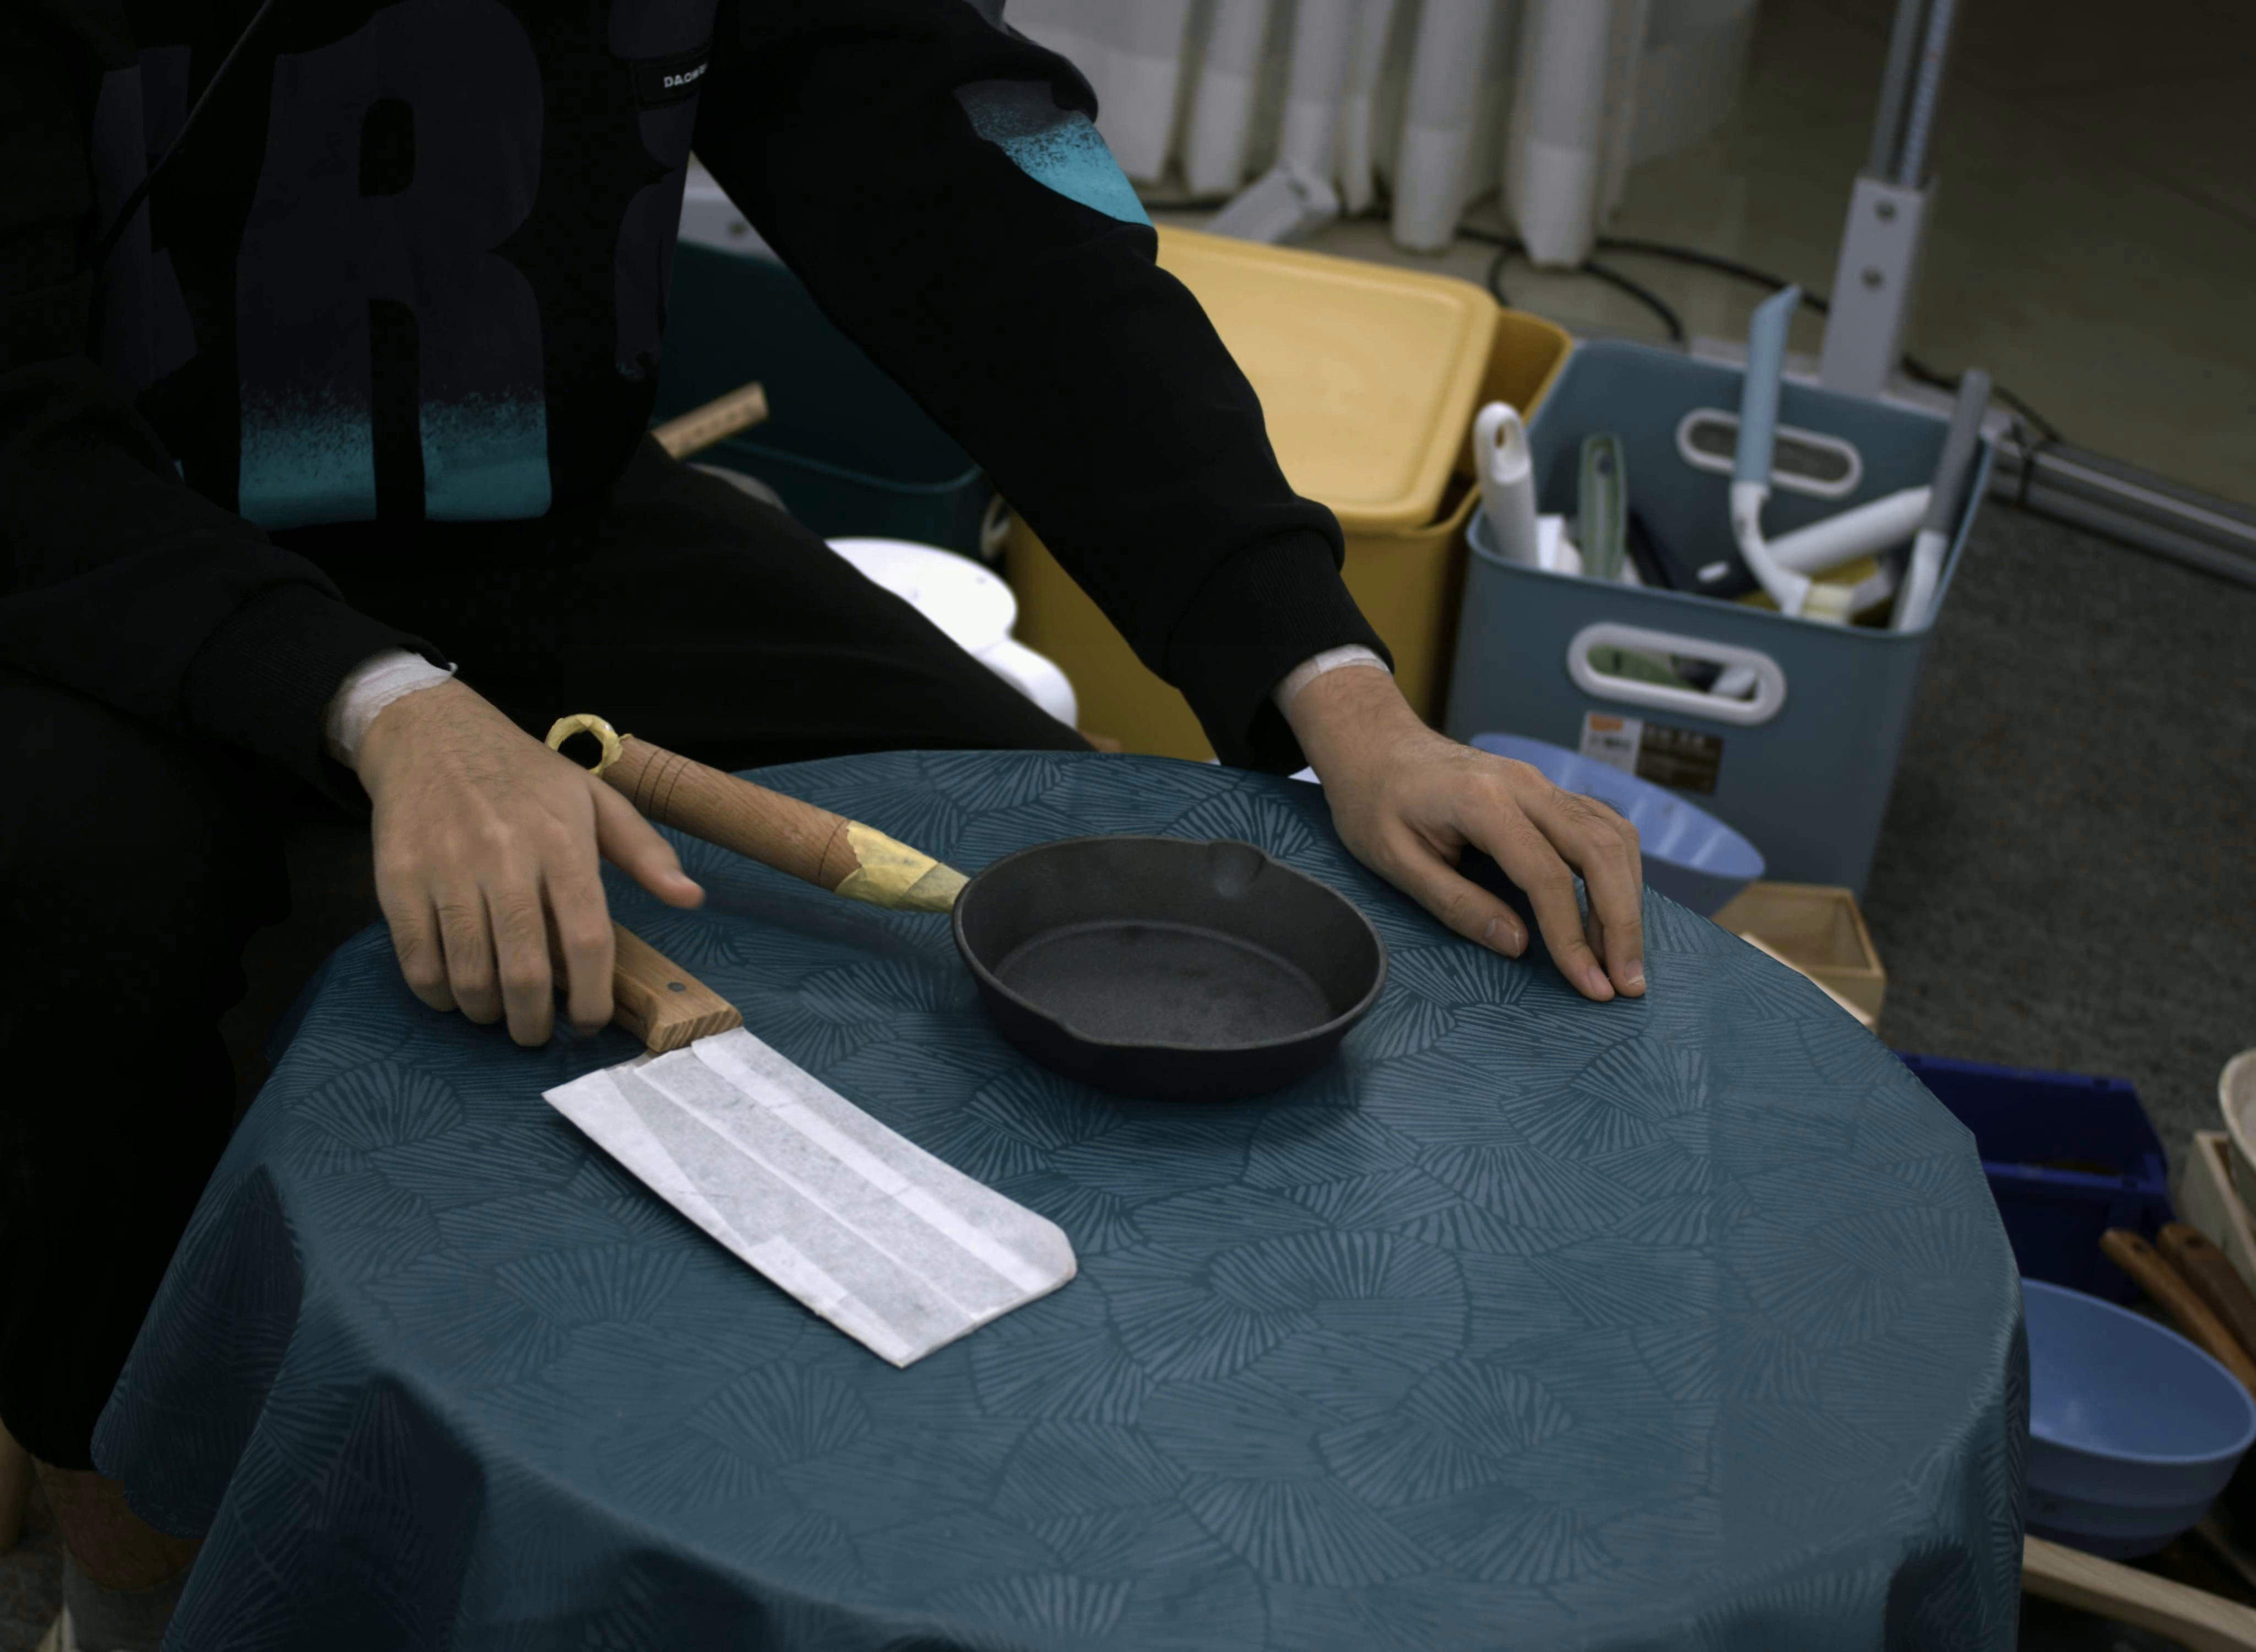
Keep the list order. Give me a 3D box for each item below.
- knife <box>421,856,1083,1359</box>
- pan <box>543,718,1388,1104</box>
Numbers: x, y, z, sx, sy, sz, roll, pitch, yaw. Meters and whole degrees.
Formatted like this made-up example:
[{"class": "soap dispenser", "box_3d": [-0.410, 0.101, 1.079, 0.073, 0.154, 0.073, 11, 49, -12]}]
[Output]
[{"class": "knife", "box_3d": [-0.140, 0.091, 1.815, 0.113, 0.021, 0.318, -17, 38, -37]}, {"class": "pan", "box_3d": [-0.064, 0.025, 1.926, 0.325, 0.049, 0.169, 16, 29, 16]}]
